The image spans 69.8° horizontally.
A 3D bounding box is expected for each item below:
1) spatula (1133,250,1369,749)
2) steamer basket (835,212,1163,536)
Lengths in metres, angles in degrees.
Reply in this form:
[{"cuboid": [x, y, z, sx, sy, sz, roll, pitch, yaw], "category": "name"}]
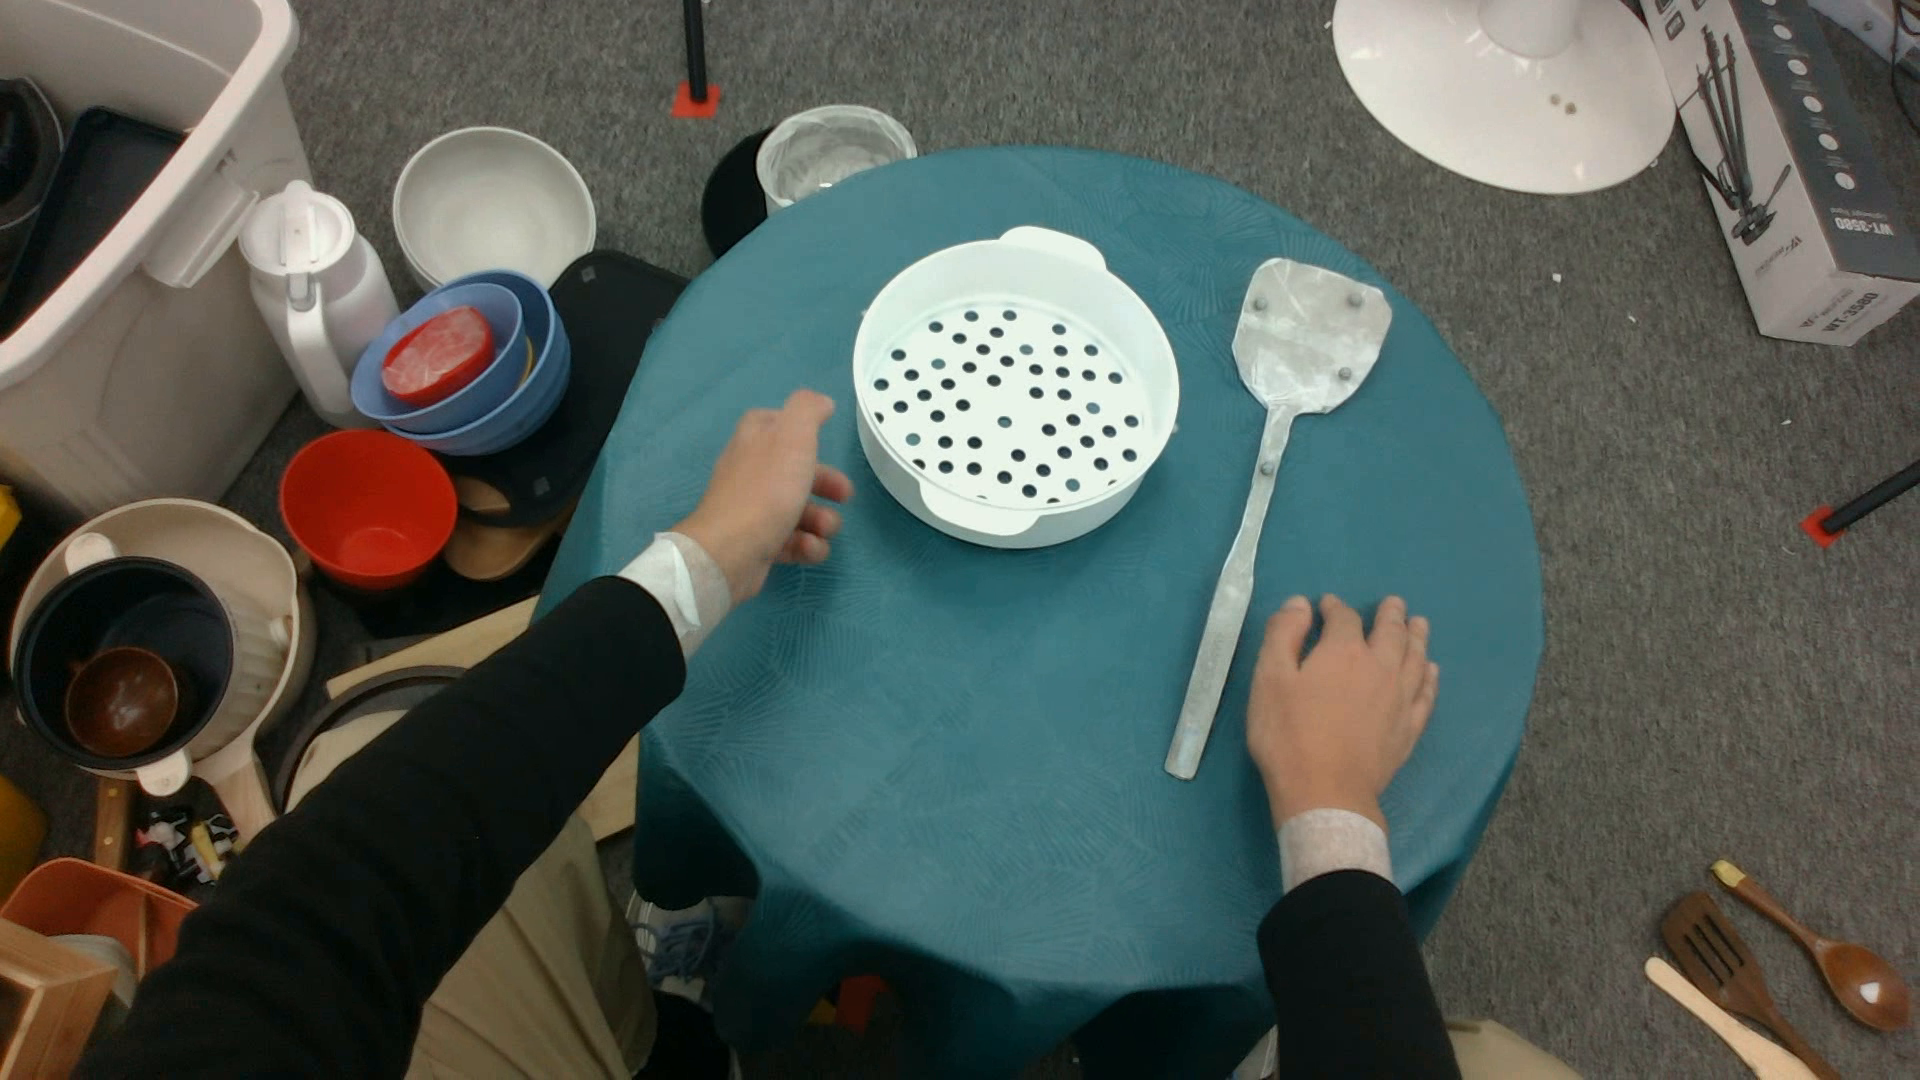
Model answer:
[{"cuboid": [0.175, -0.032, 0.871, 0.099, 0.044, 0.366, 22, 61, 1], "category": "spatula"}, {"cuboid": [0.022, -0.099, 0.865, 0.202, 0.069, 0.231, 16, 62, 2], "category": "steamer basket"}]
